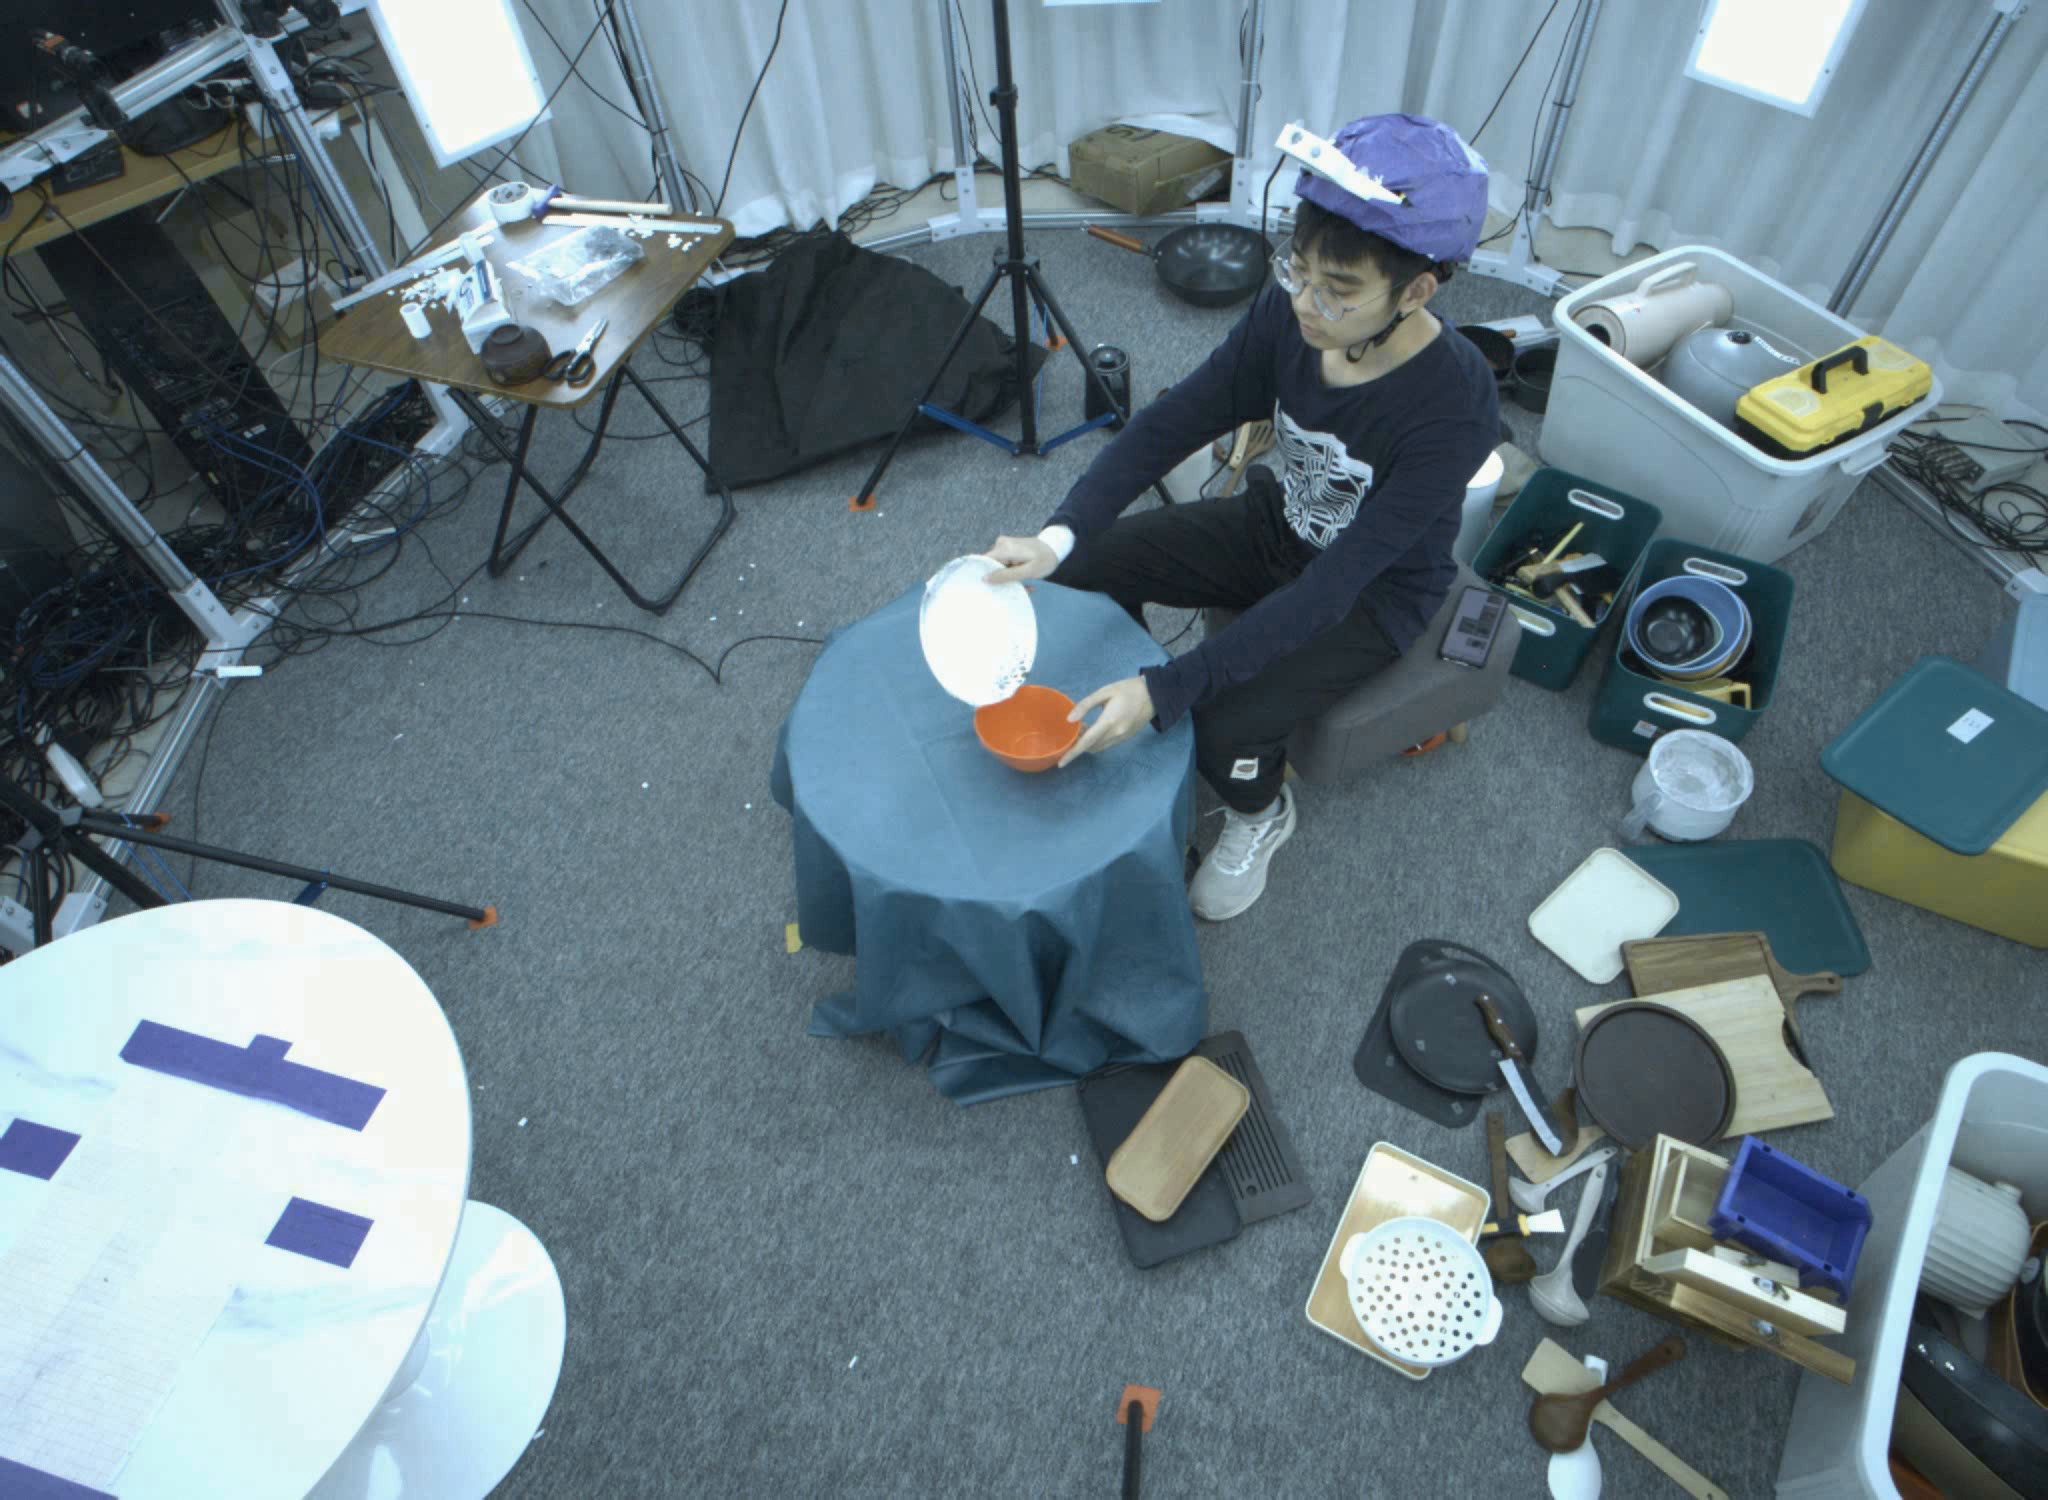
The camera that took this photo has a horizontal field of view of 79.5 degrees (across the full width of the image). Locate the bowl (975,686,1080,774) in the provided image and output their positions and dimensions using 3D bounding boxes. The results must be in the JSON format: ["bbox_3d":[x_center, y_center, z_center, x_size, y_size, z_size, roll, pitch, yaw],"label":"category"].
[{"bbox_3d":[0.005,-0.015,1.747,0.148,0.105,0.146,1,52,-1],"label":"bowl"}]

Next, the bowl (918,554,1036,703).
[{"bbox_3d":[-0.084,-0.165,1.697,0.076,0.208,0.204,-1,45,48],"label":"bowl"}]
